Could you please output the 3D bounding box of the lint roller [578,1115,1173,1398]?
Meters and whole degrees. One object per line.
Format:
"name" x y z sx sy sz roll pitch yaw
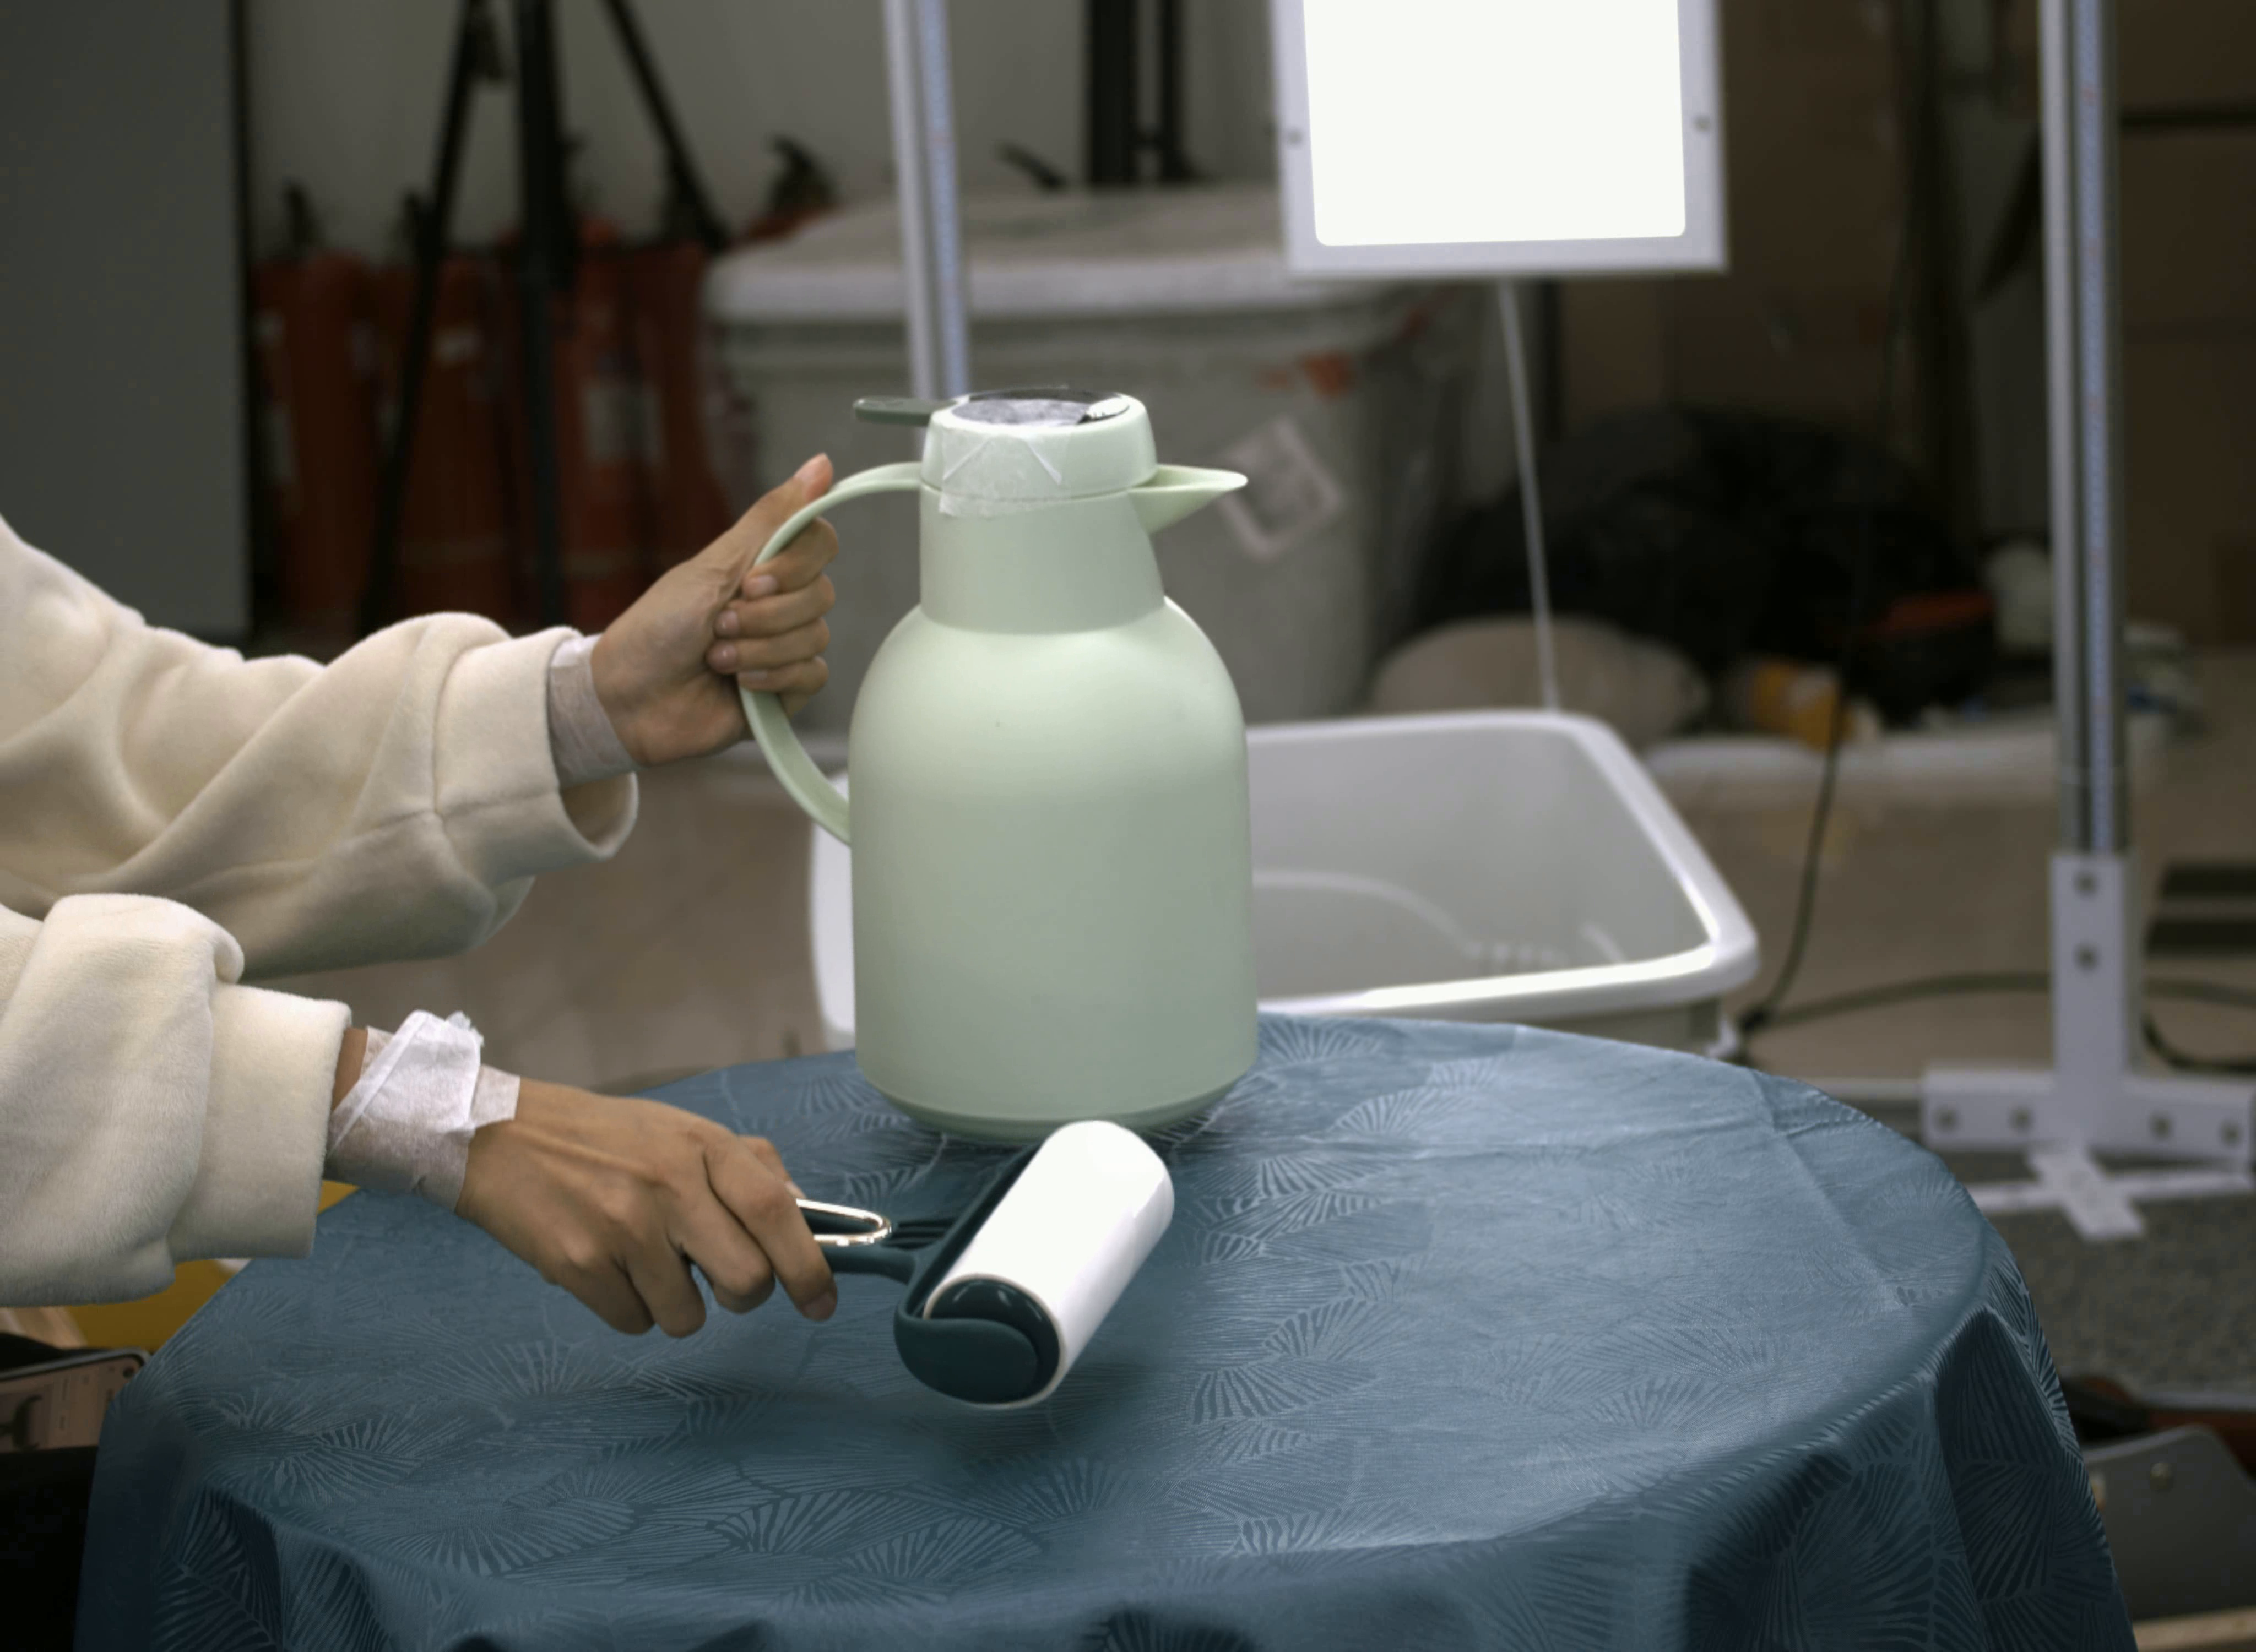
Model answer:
"lint roller" -0.087 0.119 1.704 0.182 0.048 0.132 10 28 19

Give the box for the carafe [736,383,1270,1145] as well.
"carafe" -0.041 -0.026 1.943 0.189 0.257 0.142 -1 18 16
